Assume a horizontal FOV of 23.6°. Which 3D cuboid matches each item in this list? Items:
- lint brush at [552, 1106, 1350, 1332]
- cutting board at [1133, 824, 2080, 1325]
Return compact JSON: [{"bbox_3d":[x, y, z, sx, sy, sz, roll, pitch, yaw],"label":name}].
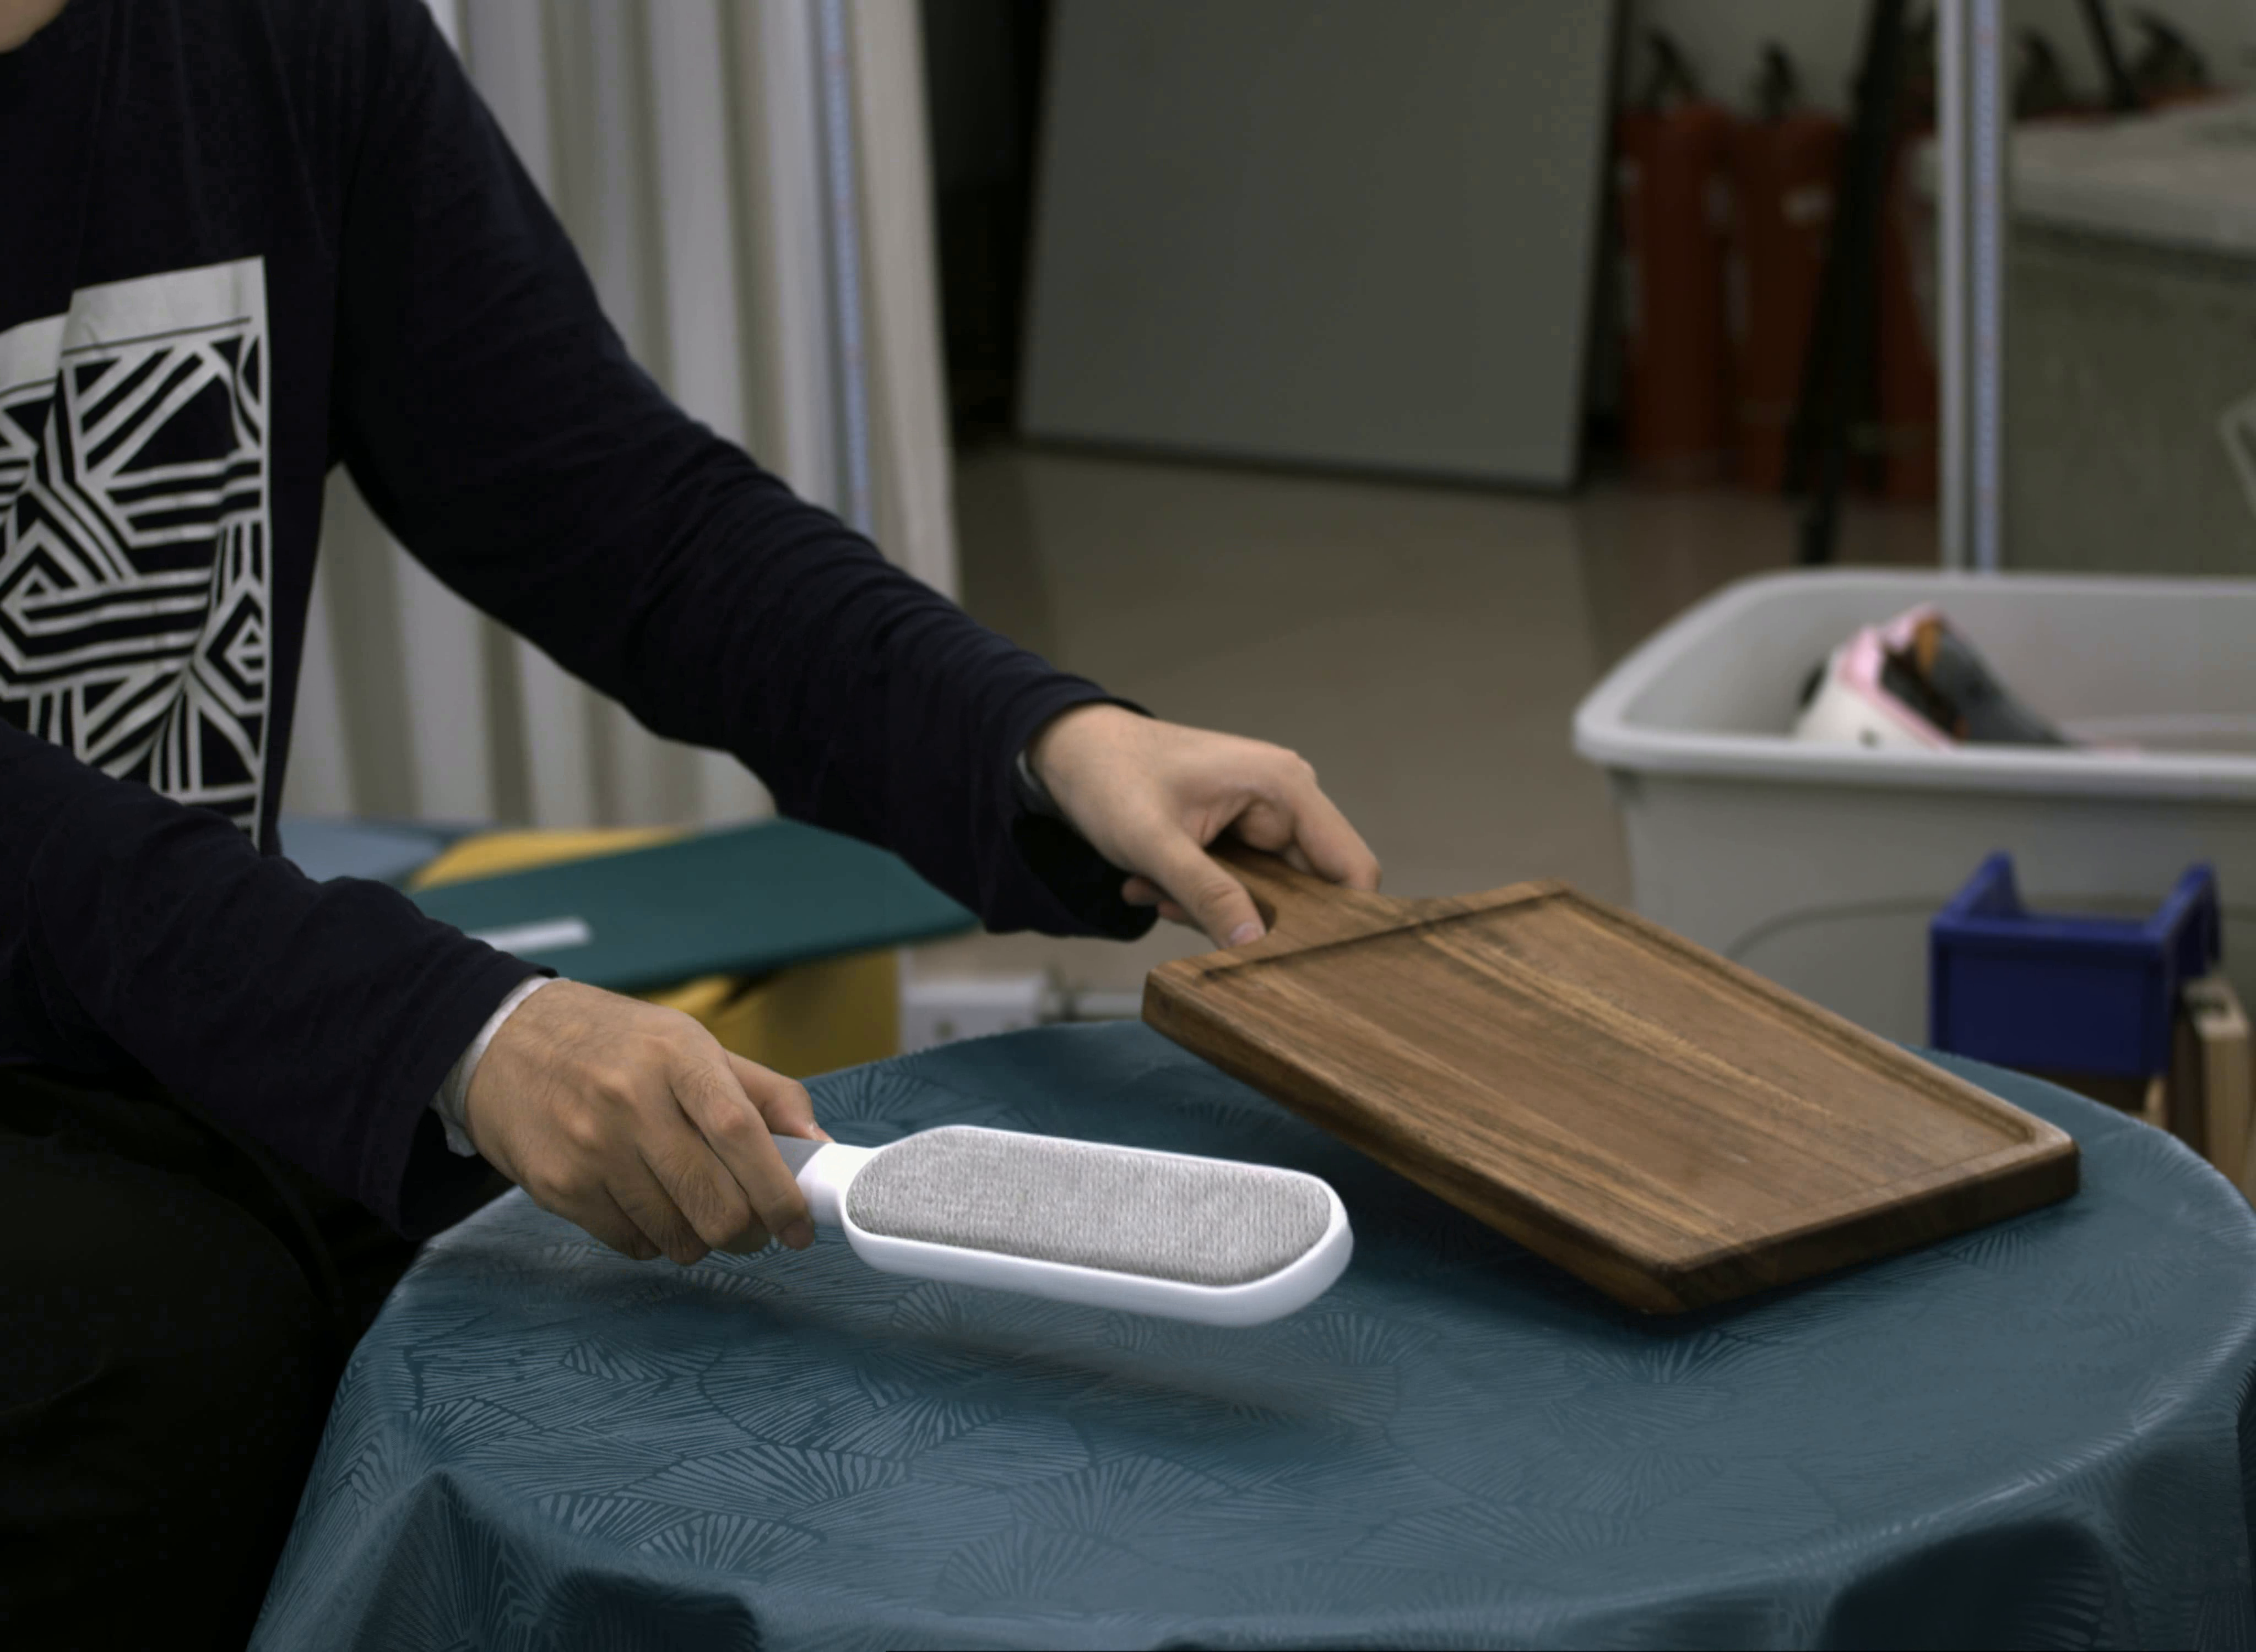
[{"bbox_3d":[-0.061,0.112,1.636,0.311,0.021,0.060,5,46,39],"label":"lint brush"},{"bbox_3d":[0.122,0.066,1.769,0.196,0.023,0.356,-12,27,-37],"label":"cutting board"}]
